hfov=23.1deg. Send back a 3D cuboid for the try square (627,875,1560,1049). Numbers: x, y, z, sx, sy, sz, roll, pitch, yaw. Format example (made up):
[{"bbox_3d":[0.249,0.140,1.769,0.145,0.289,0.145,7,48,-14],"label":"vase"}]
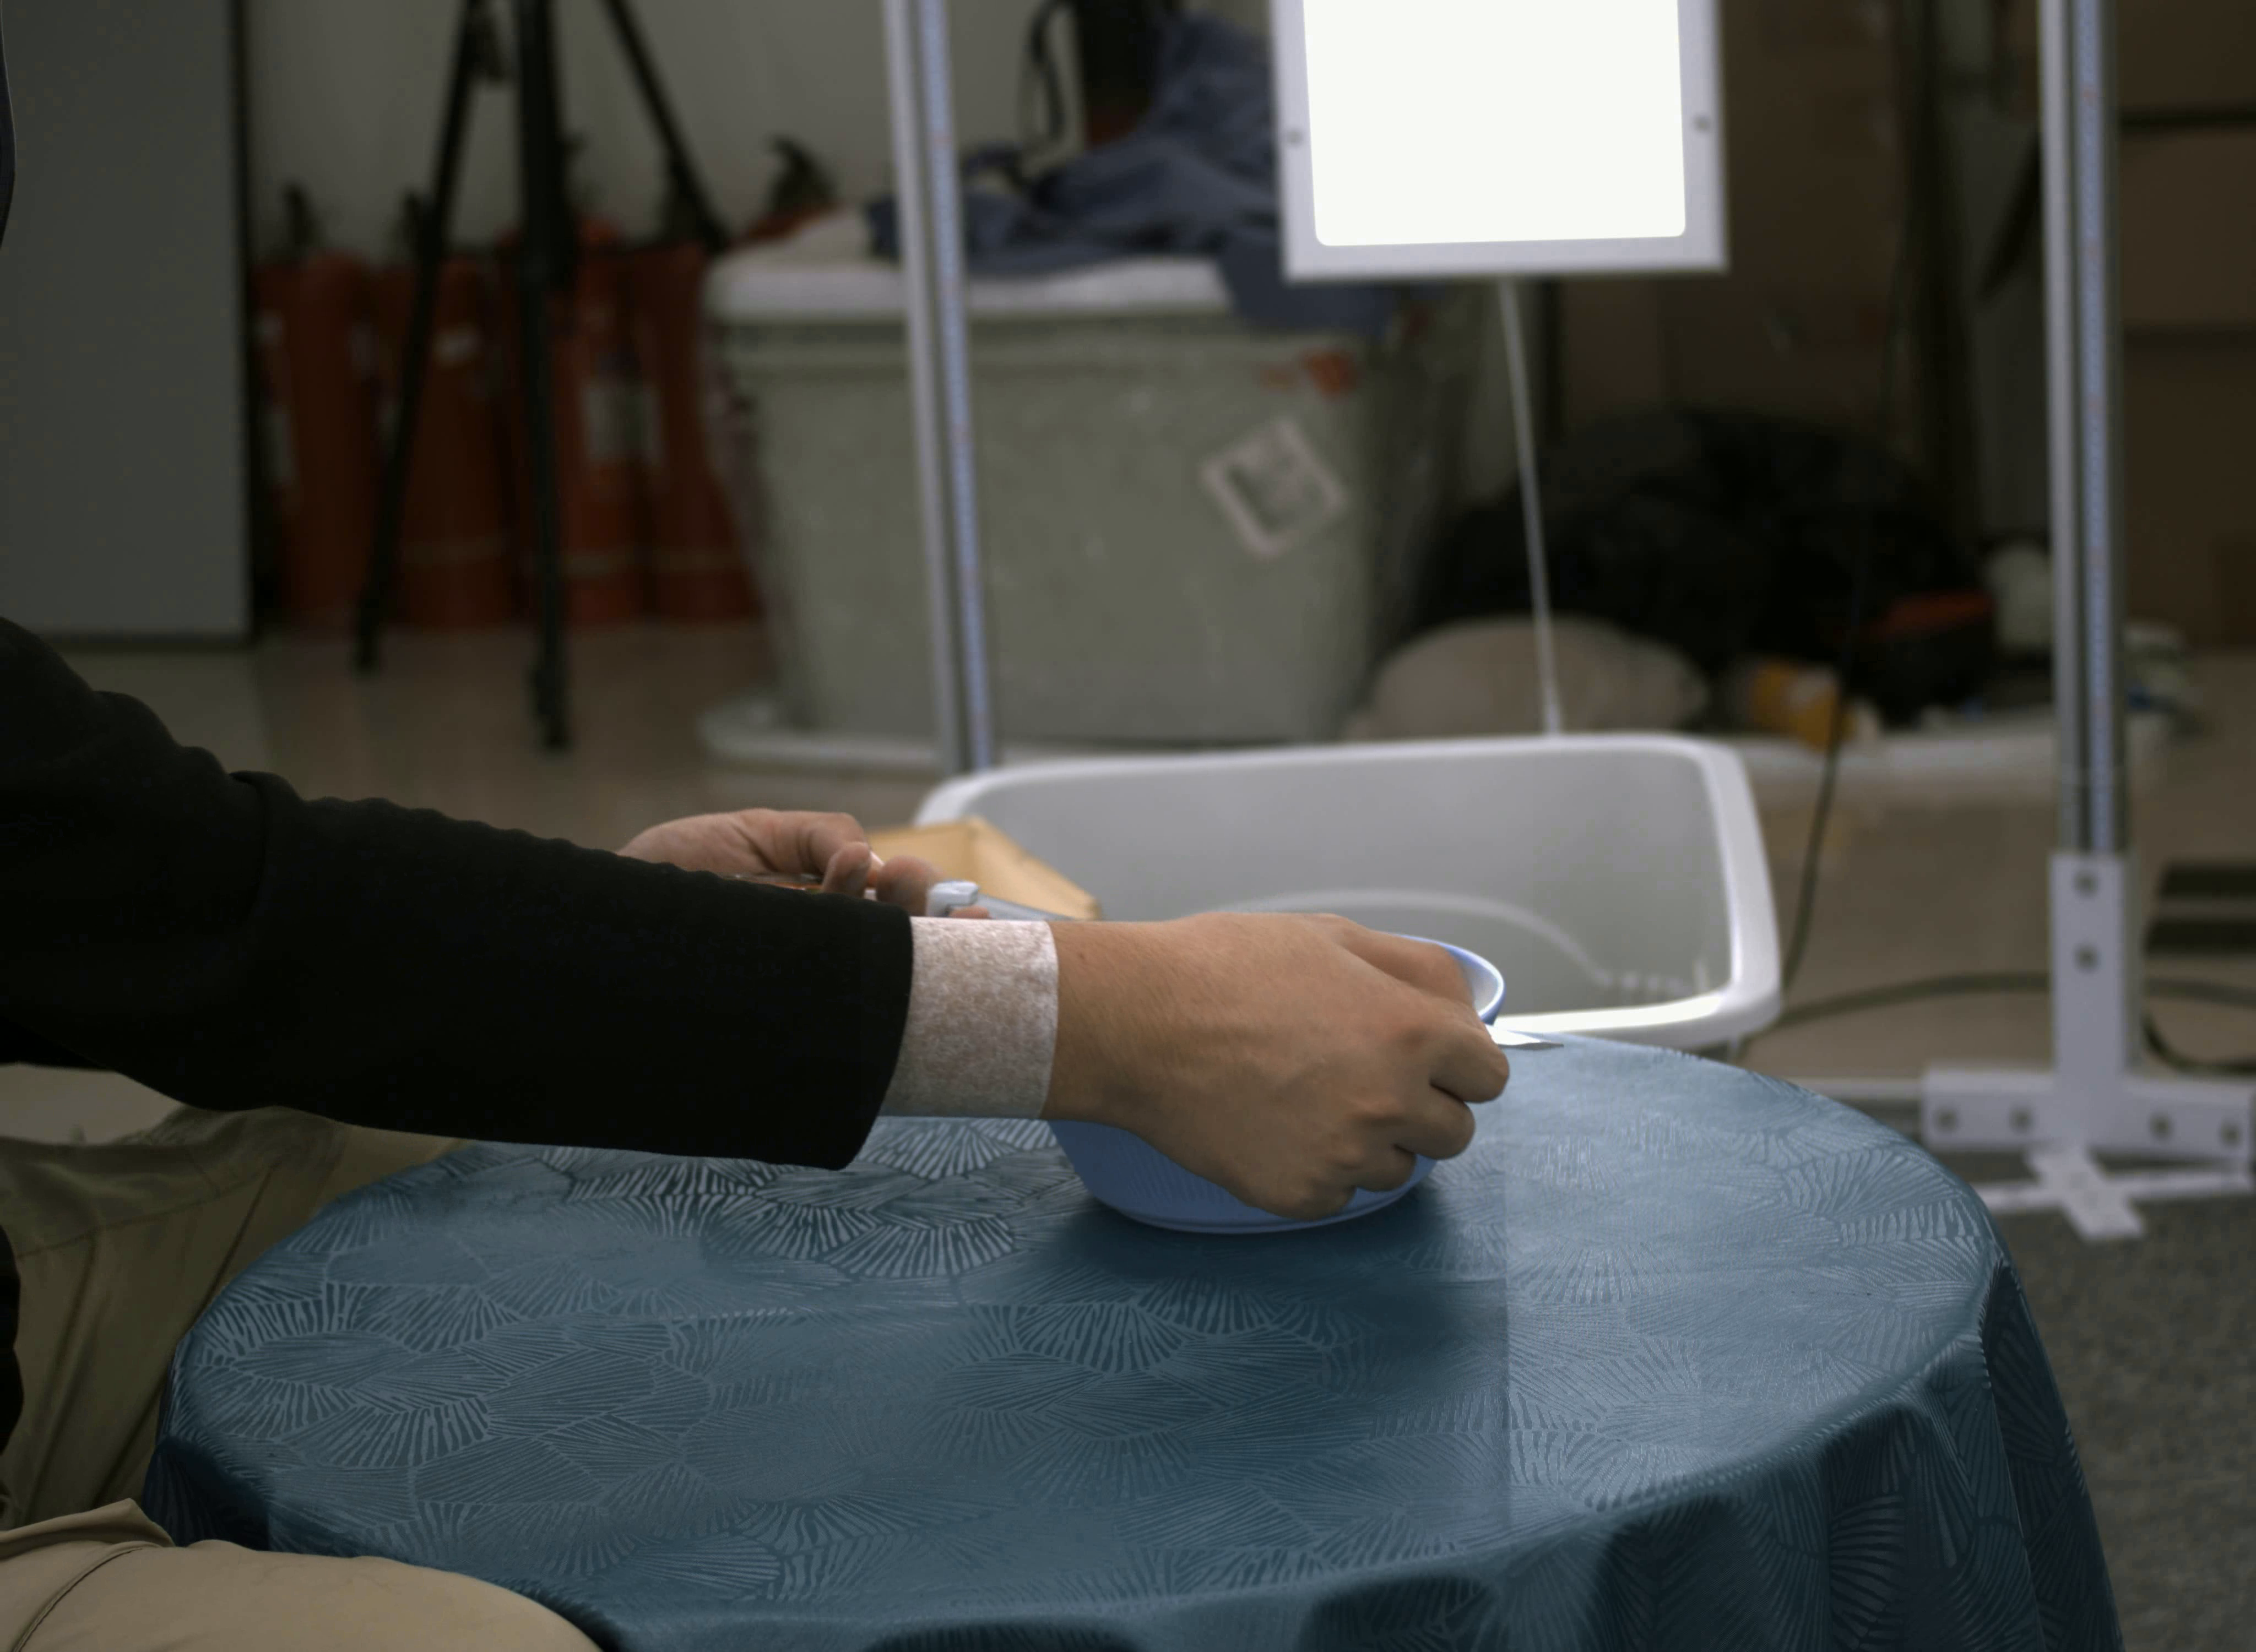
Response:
[{"bbox_3d":[-0.018,0.047,1.811,0.148,0.016,0.319,-2,9,-37],"label":"try square"}]

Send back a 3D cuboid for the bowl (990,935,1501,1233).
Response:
[{"bbox_3d":[0.042,0.090,1.884,0.175,0.070,0.176,-5,14,0],"label":"bowl"}]
